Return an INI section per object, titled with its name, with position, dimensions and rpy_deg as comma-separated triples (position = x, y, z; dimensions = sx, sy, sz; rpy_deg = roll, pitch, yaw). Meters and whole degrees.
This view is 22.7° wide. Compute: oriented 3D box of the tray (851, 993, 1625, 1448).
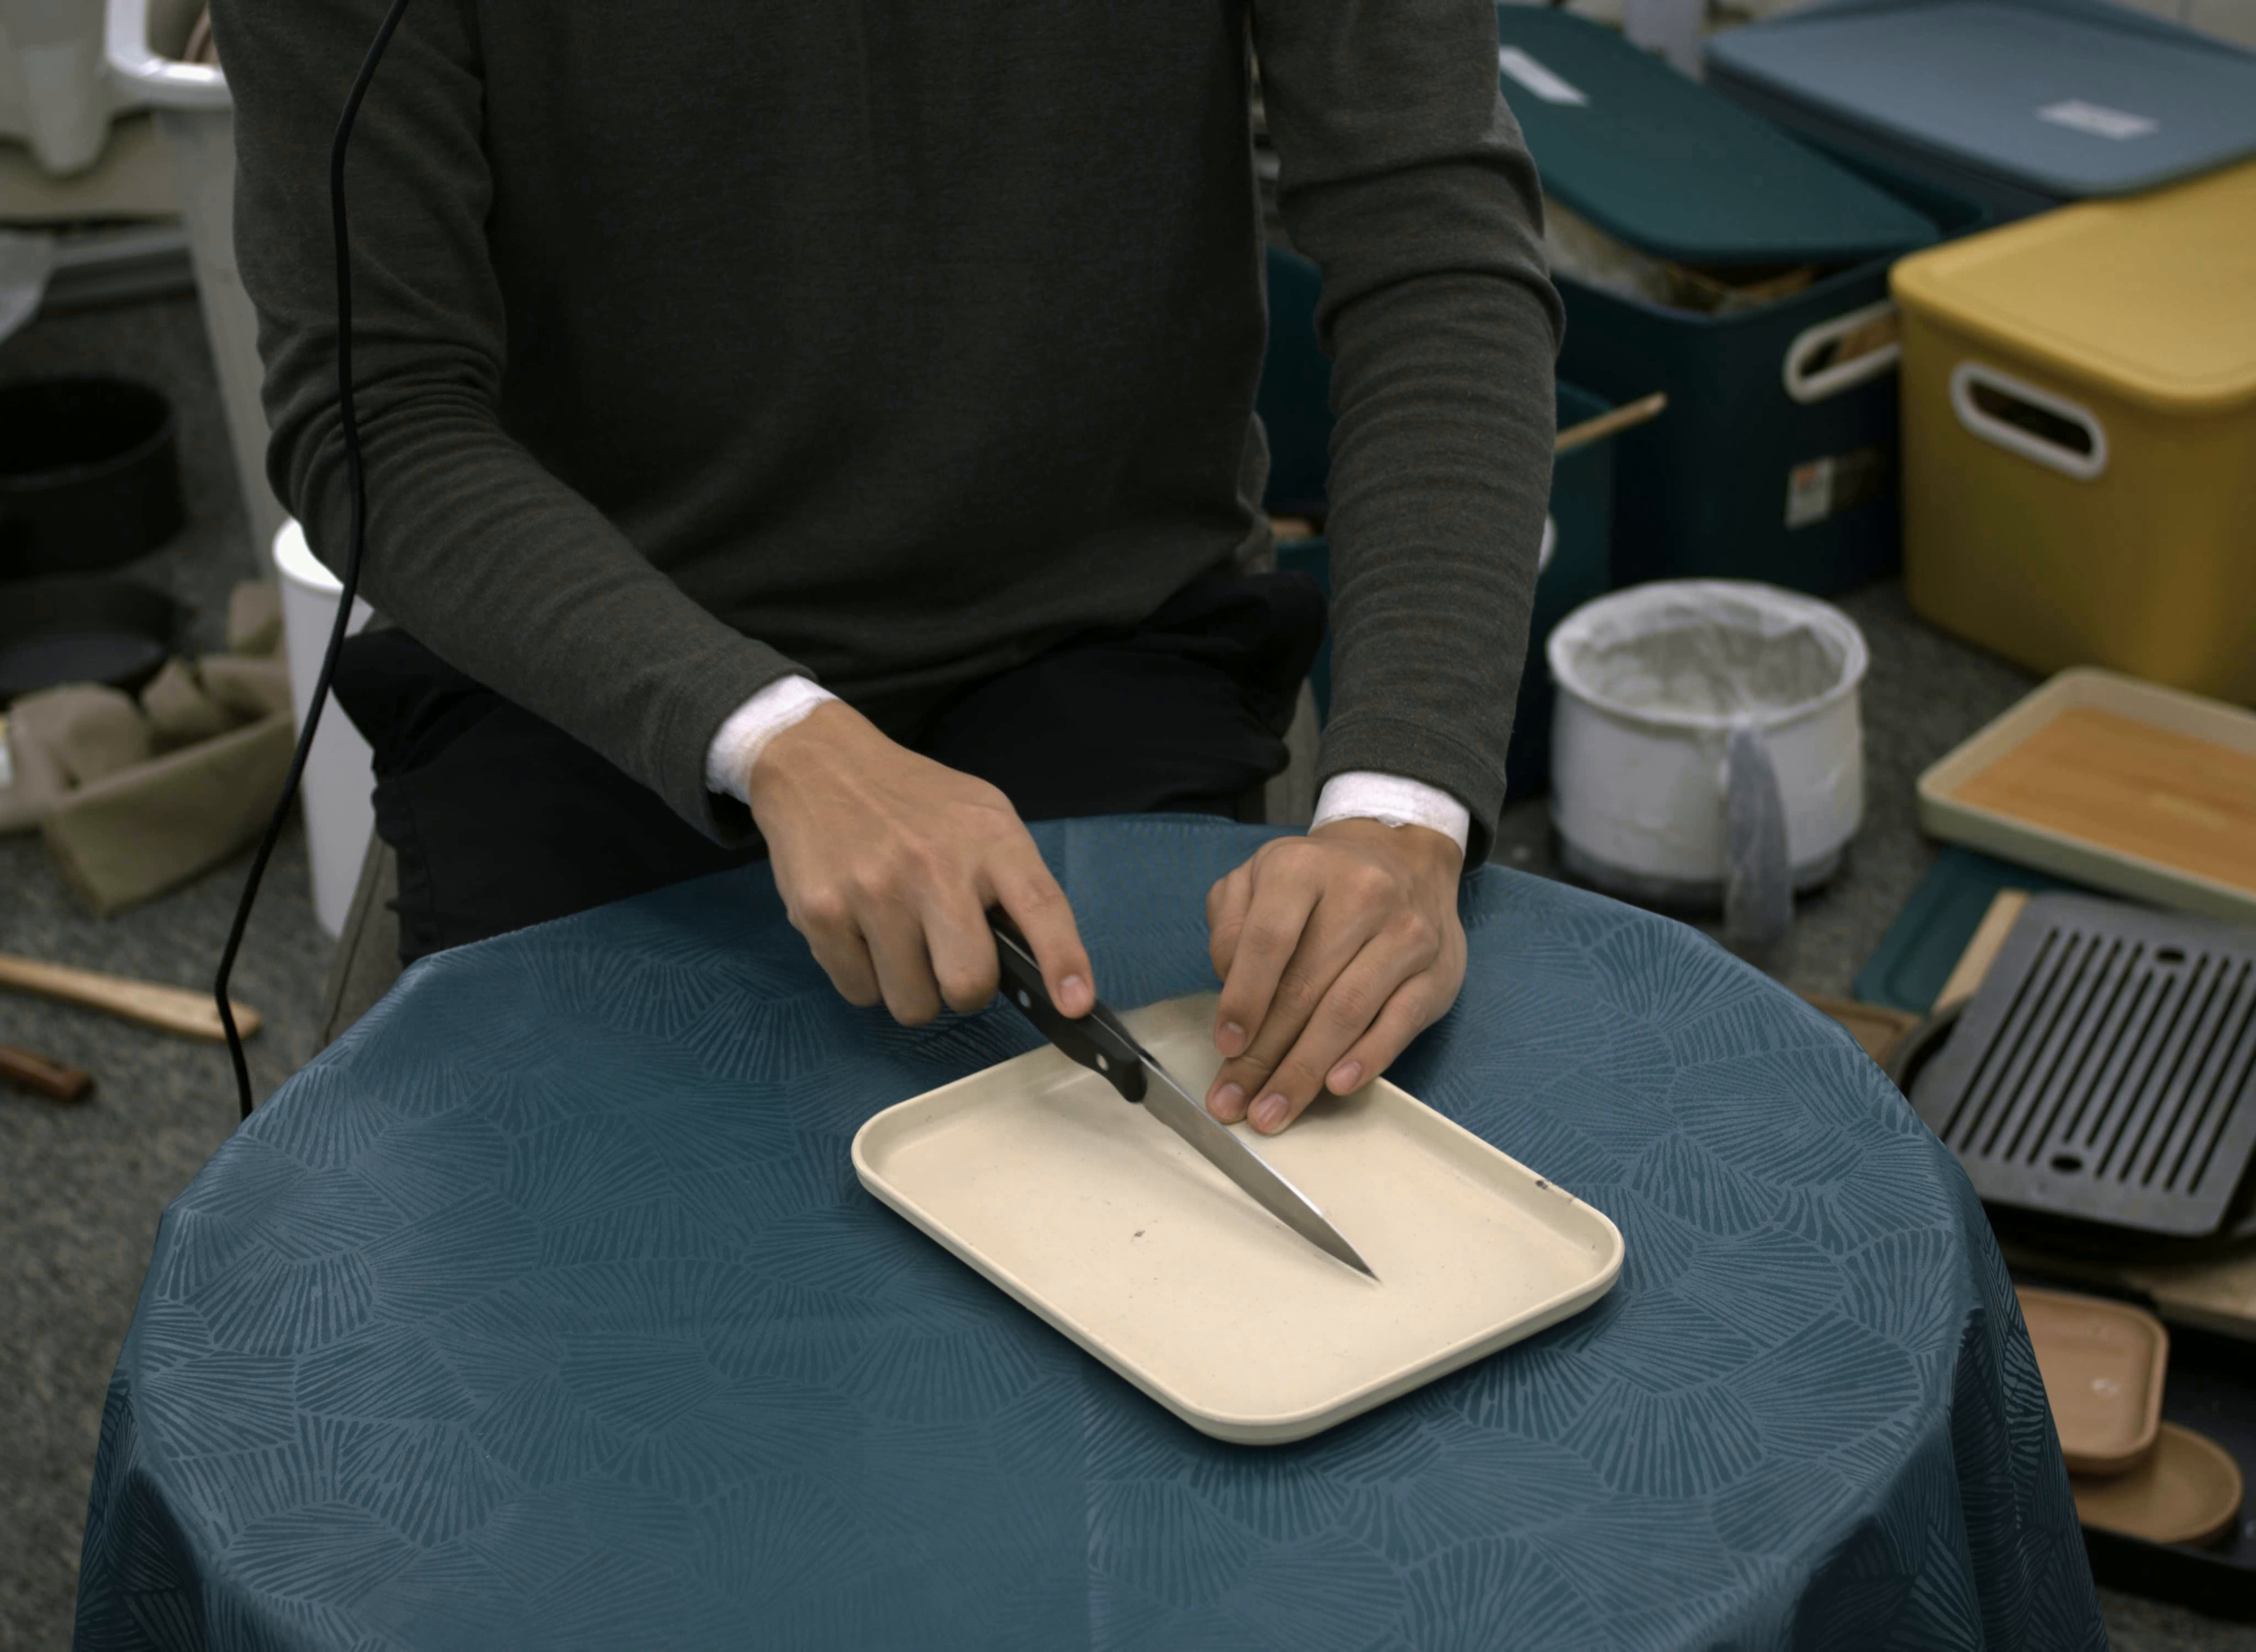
[tray]
position = 0.033, 0.127, 1.830
dimensions = 0.173, 0.017, 0.240
rpy_deg = -21, 32, -30

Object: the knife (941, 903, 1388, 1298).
[knife]
position = 0.011, 0.089, 1.867
dimensions = 0.016, 0.024, 0.239
rpy_deg = -27, 46, -26
